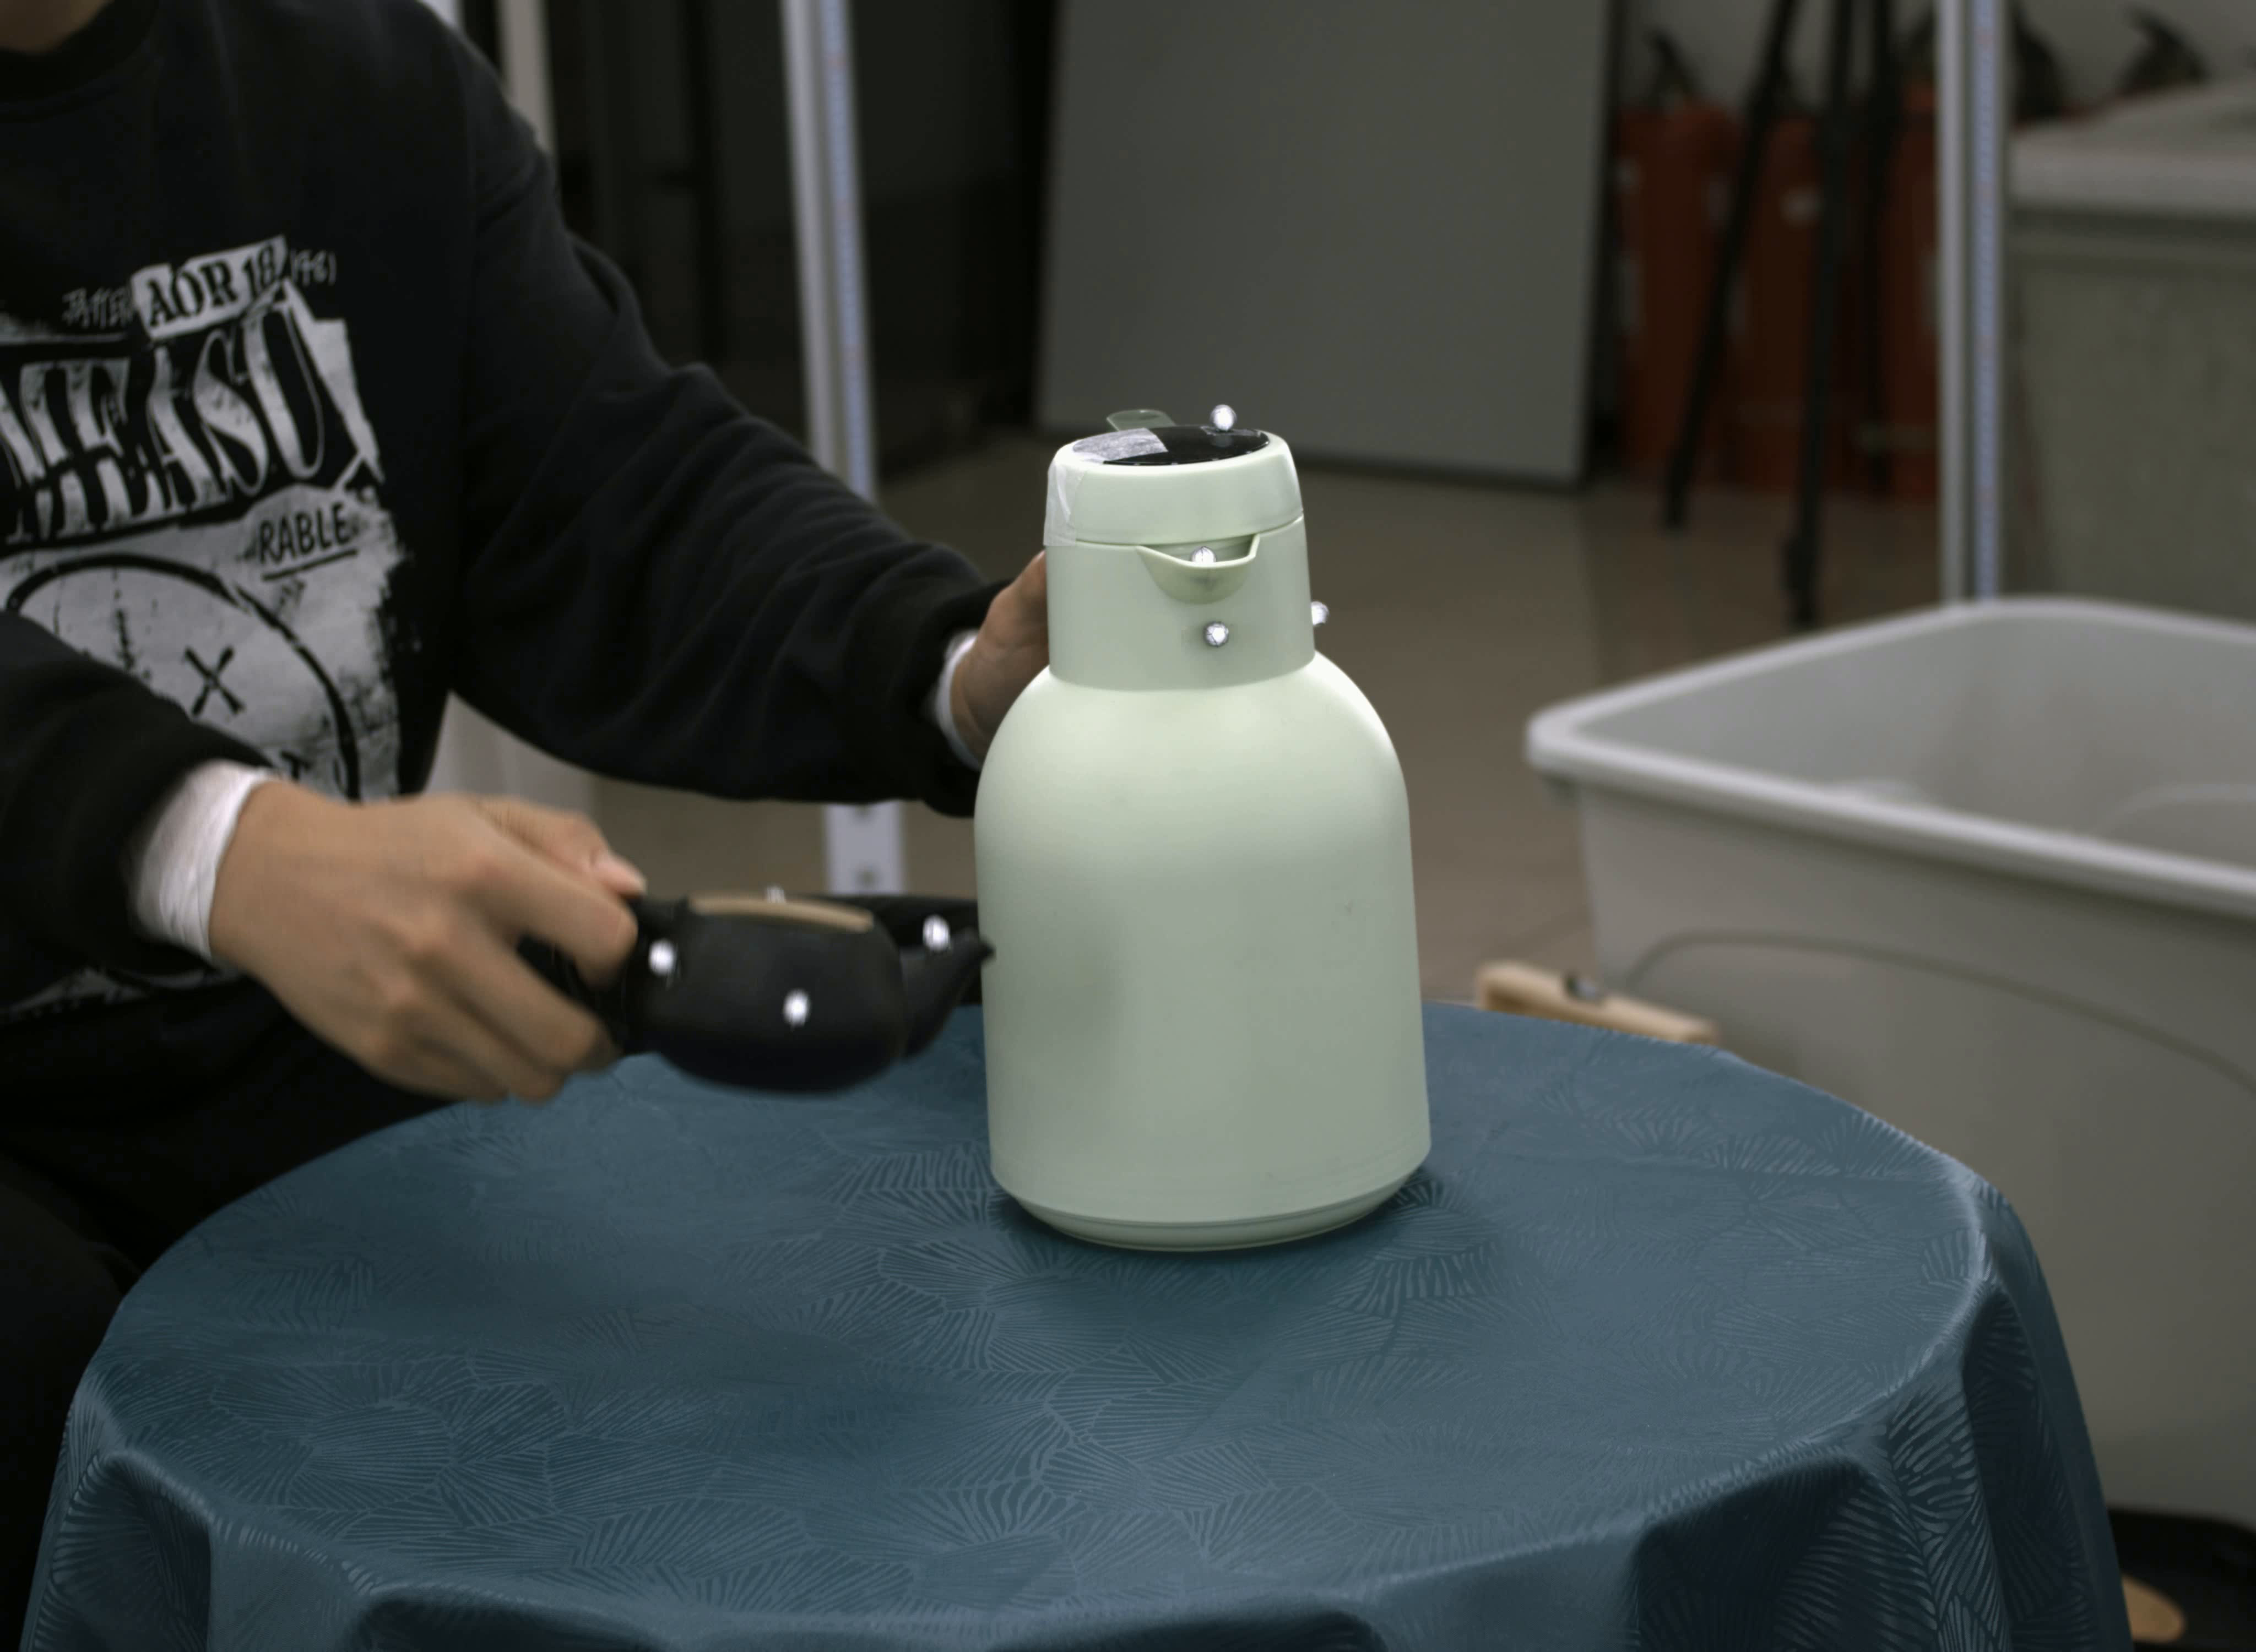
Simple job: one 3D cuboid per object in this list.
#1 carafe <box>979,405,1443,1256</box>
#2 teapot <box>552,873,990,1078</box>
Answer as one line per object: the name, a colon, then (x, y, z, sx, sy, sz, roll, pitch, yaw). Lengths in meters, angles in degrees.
carafe: (0.019, -0.004, 1.750, 0.142, 0.259, 0.188, -8, 10, -10)
teapot: (-0.109, 0.046, 1.631, 0.131, 0.054, 0.091, 7, 4, -5)
